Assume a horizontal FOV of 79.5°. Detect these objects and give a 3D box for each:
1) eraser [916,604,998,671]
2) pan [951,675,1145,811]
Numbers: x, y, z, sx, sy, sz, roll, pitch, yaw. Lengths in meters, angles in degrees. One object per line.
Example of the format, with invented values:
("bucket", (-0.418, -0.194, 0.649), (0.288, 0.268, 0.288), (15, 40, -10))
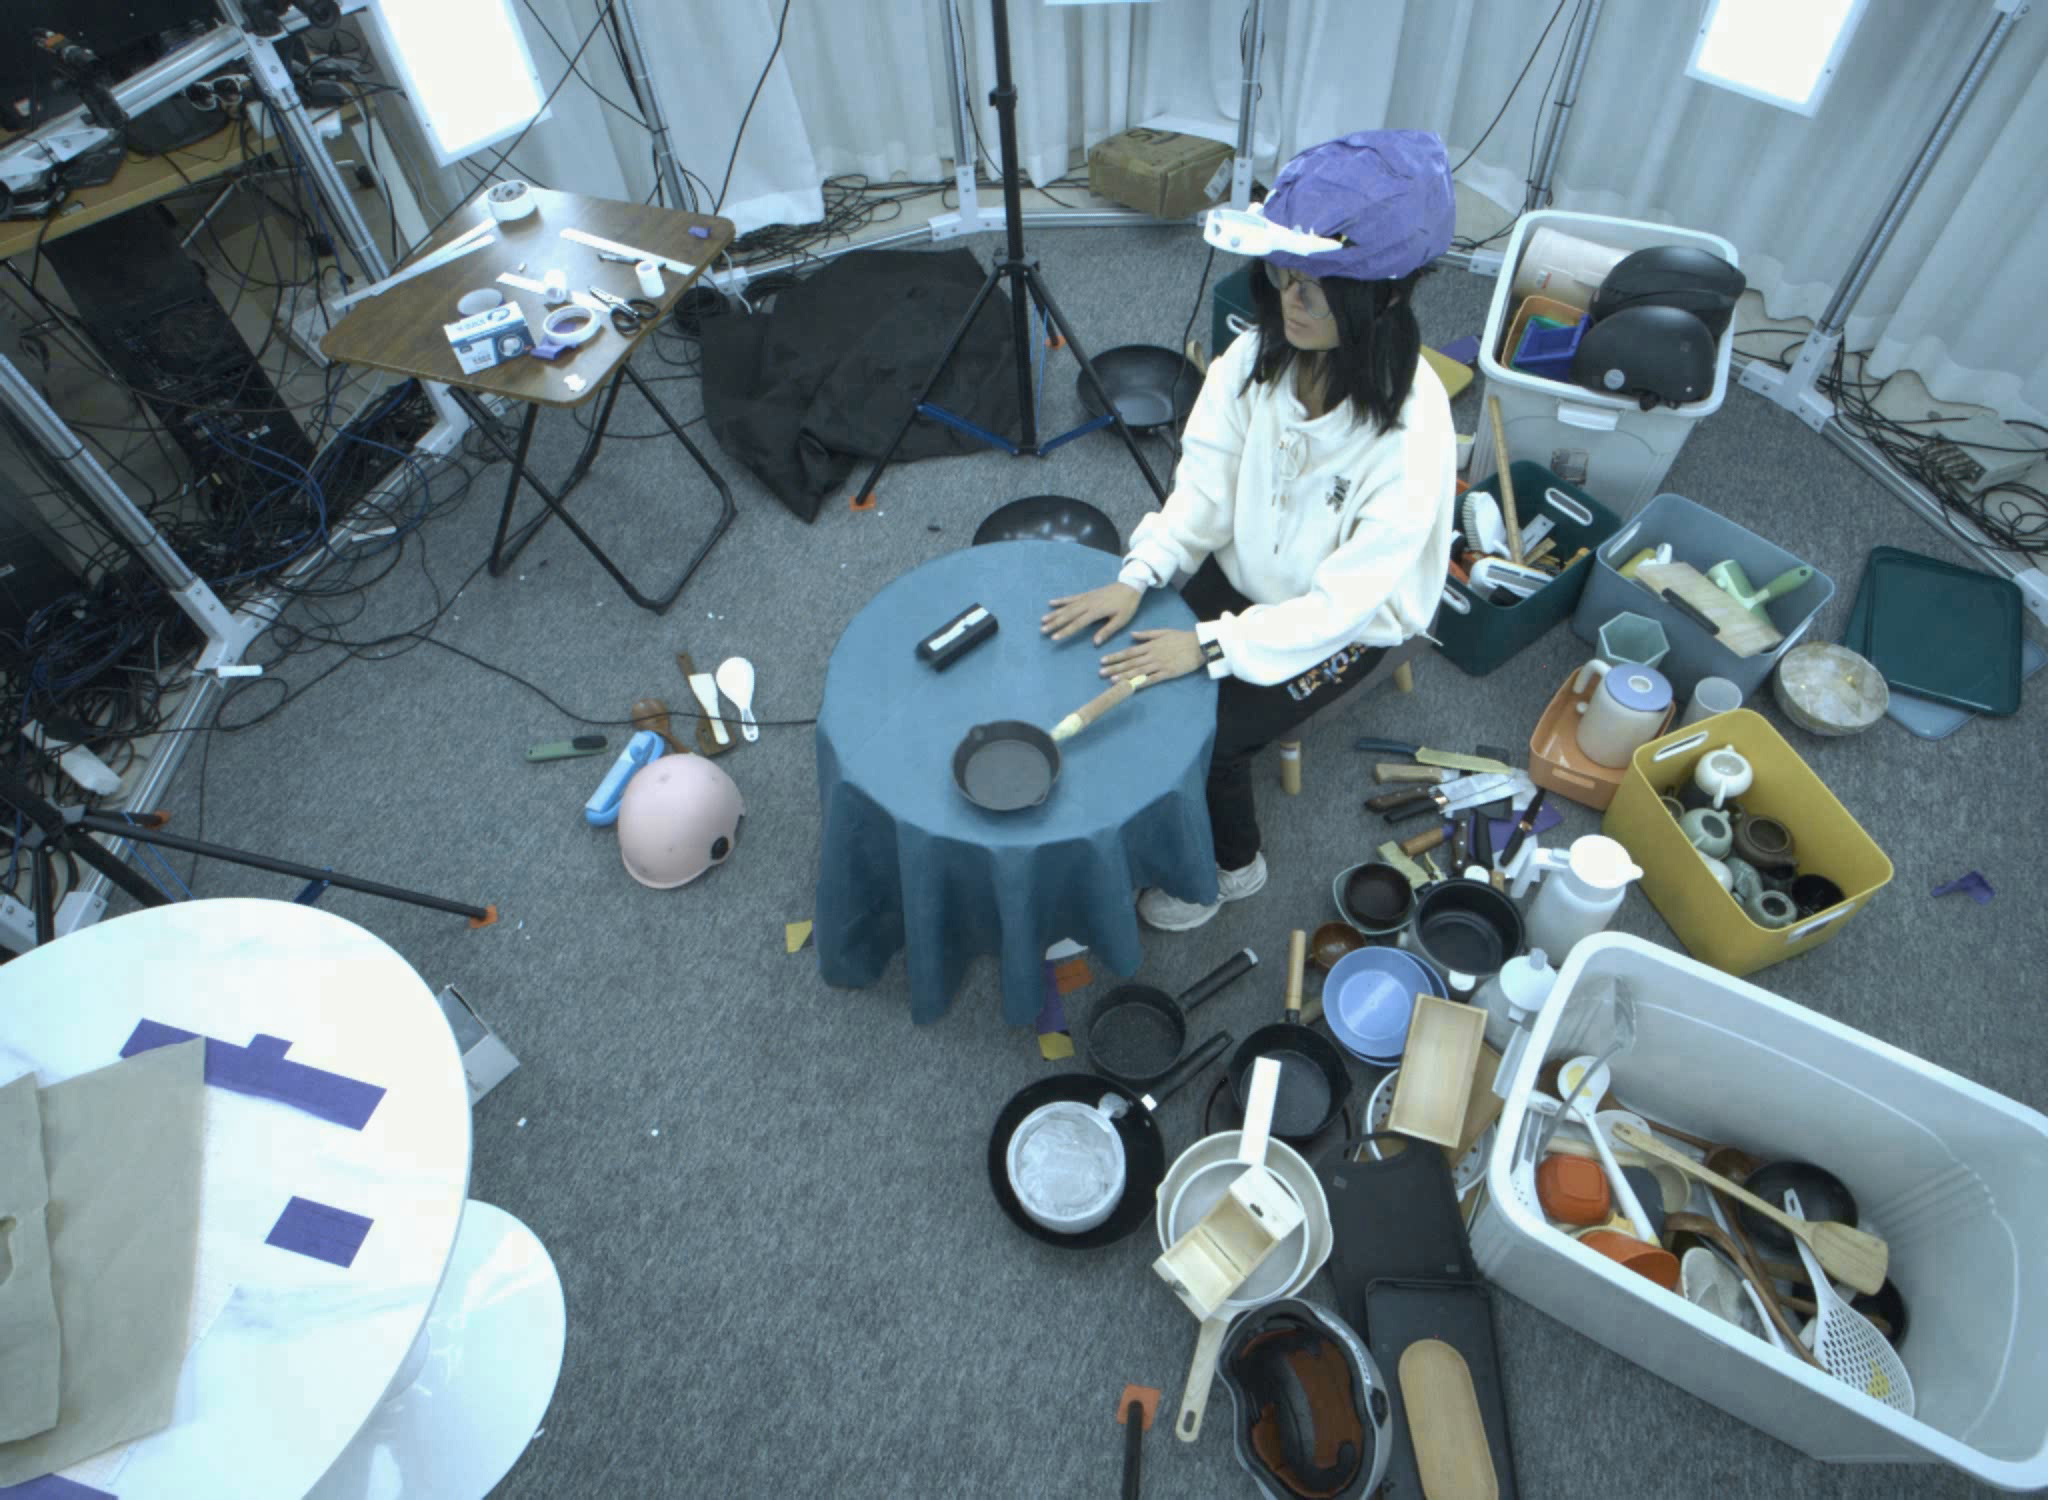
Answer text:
("eraser", (-0.103, -0.175, 1.898), (0.126, 0.031, 0.052), (-36, 62, -23))
("pan", (0.045, -0.019, 1.768), (0.326, 0.050, 0.165), (-30, 58, -17))
